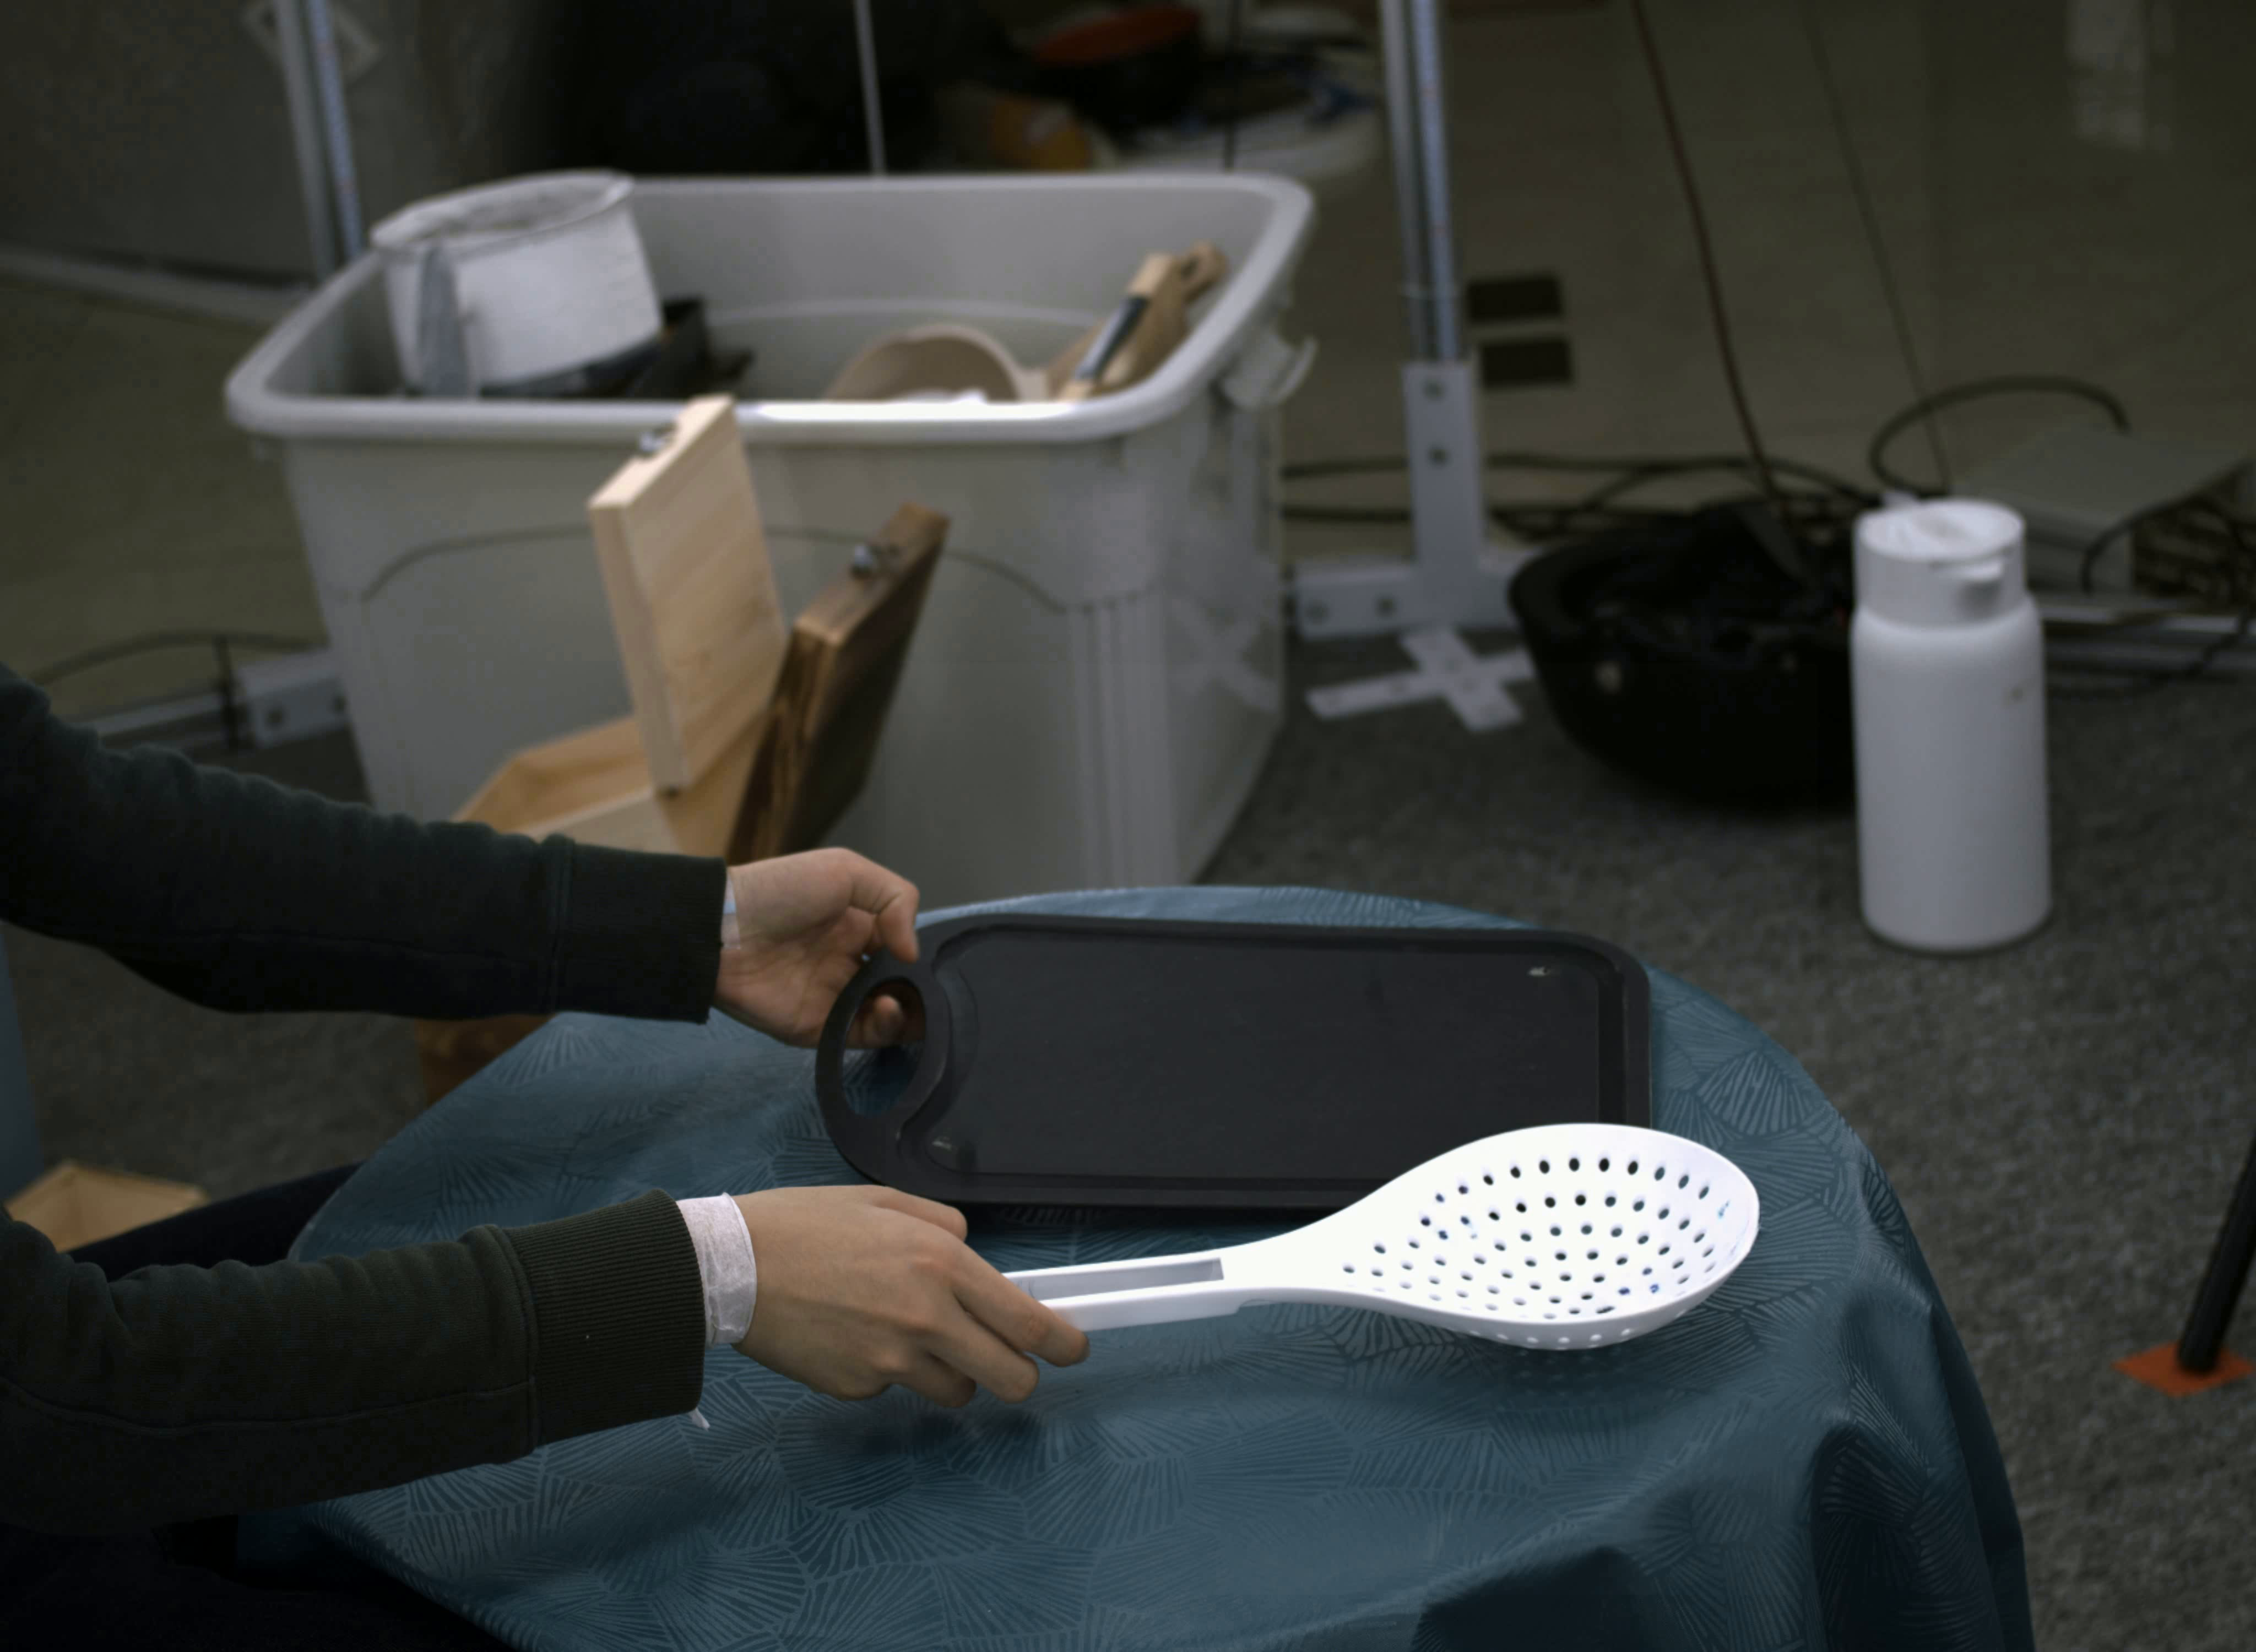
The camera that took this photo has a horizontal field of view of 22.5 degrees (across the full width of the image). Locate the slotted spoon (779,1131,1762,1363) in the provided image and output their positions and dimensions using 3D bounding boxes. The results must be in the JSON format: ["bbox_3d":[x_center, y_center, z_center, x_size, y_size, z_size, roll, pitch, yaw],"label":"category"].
[{"bbox_3d":[0.050,0.160,2.017,0.349,0.046,0.134,-3,25,-3],"label":"slotted spoon"}]

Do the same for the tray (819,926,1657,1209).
[{"bbox_3d":[0.042,0.091,2.202,0.325,0.010,0.208,1,28,5],"label":"tray"}]
